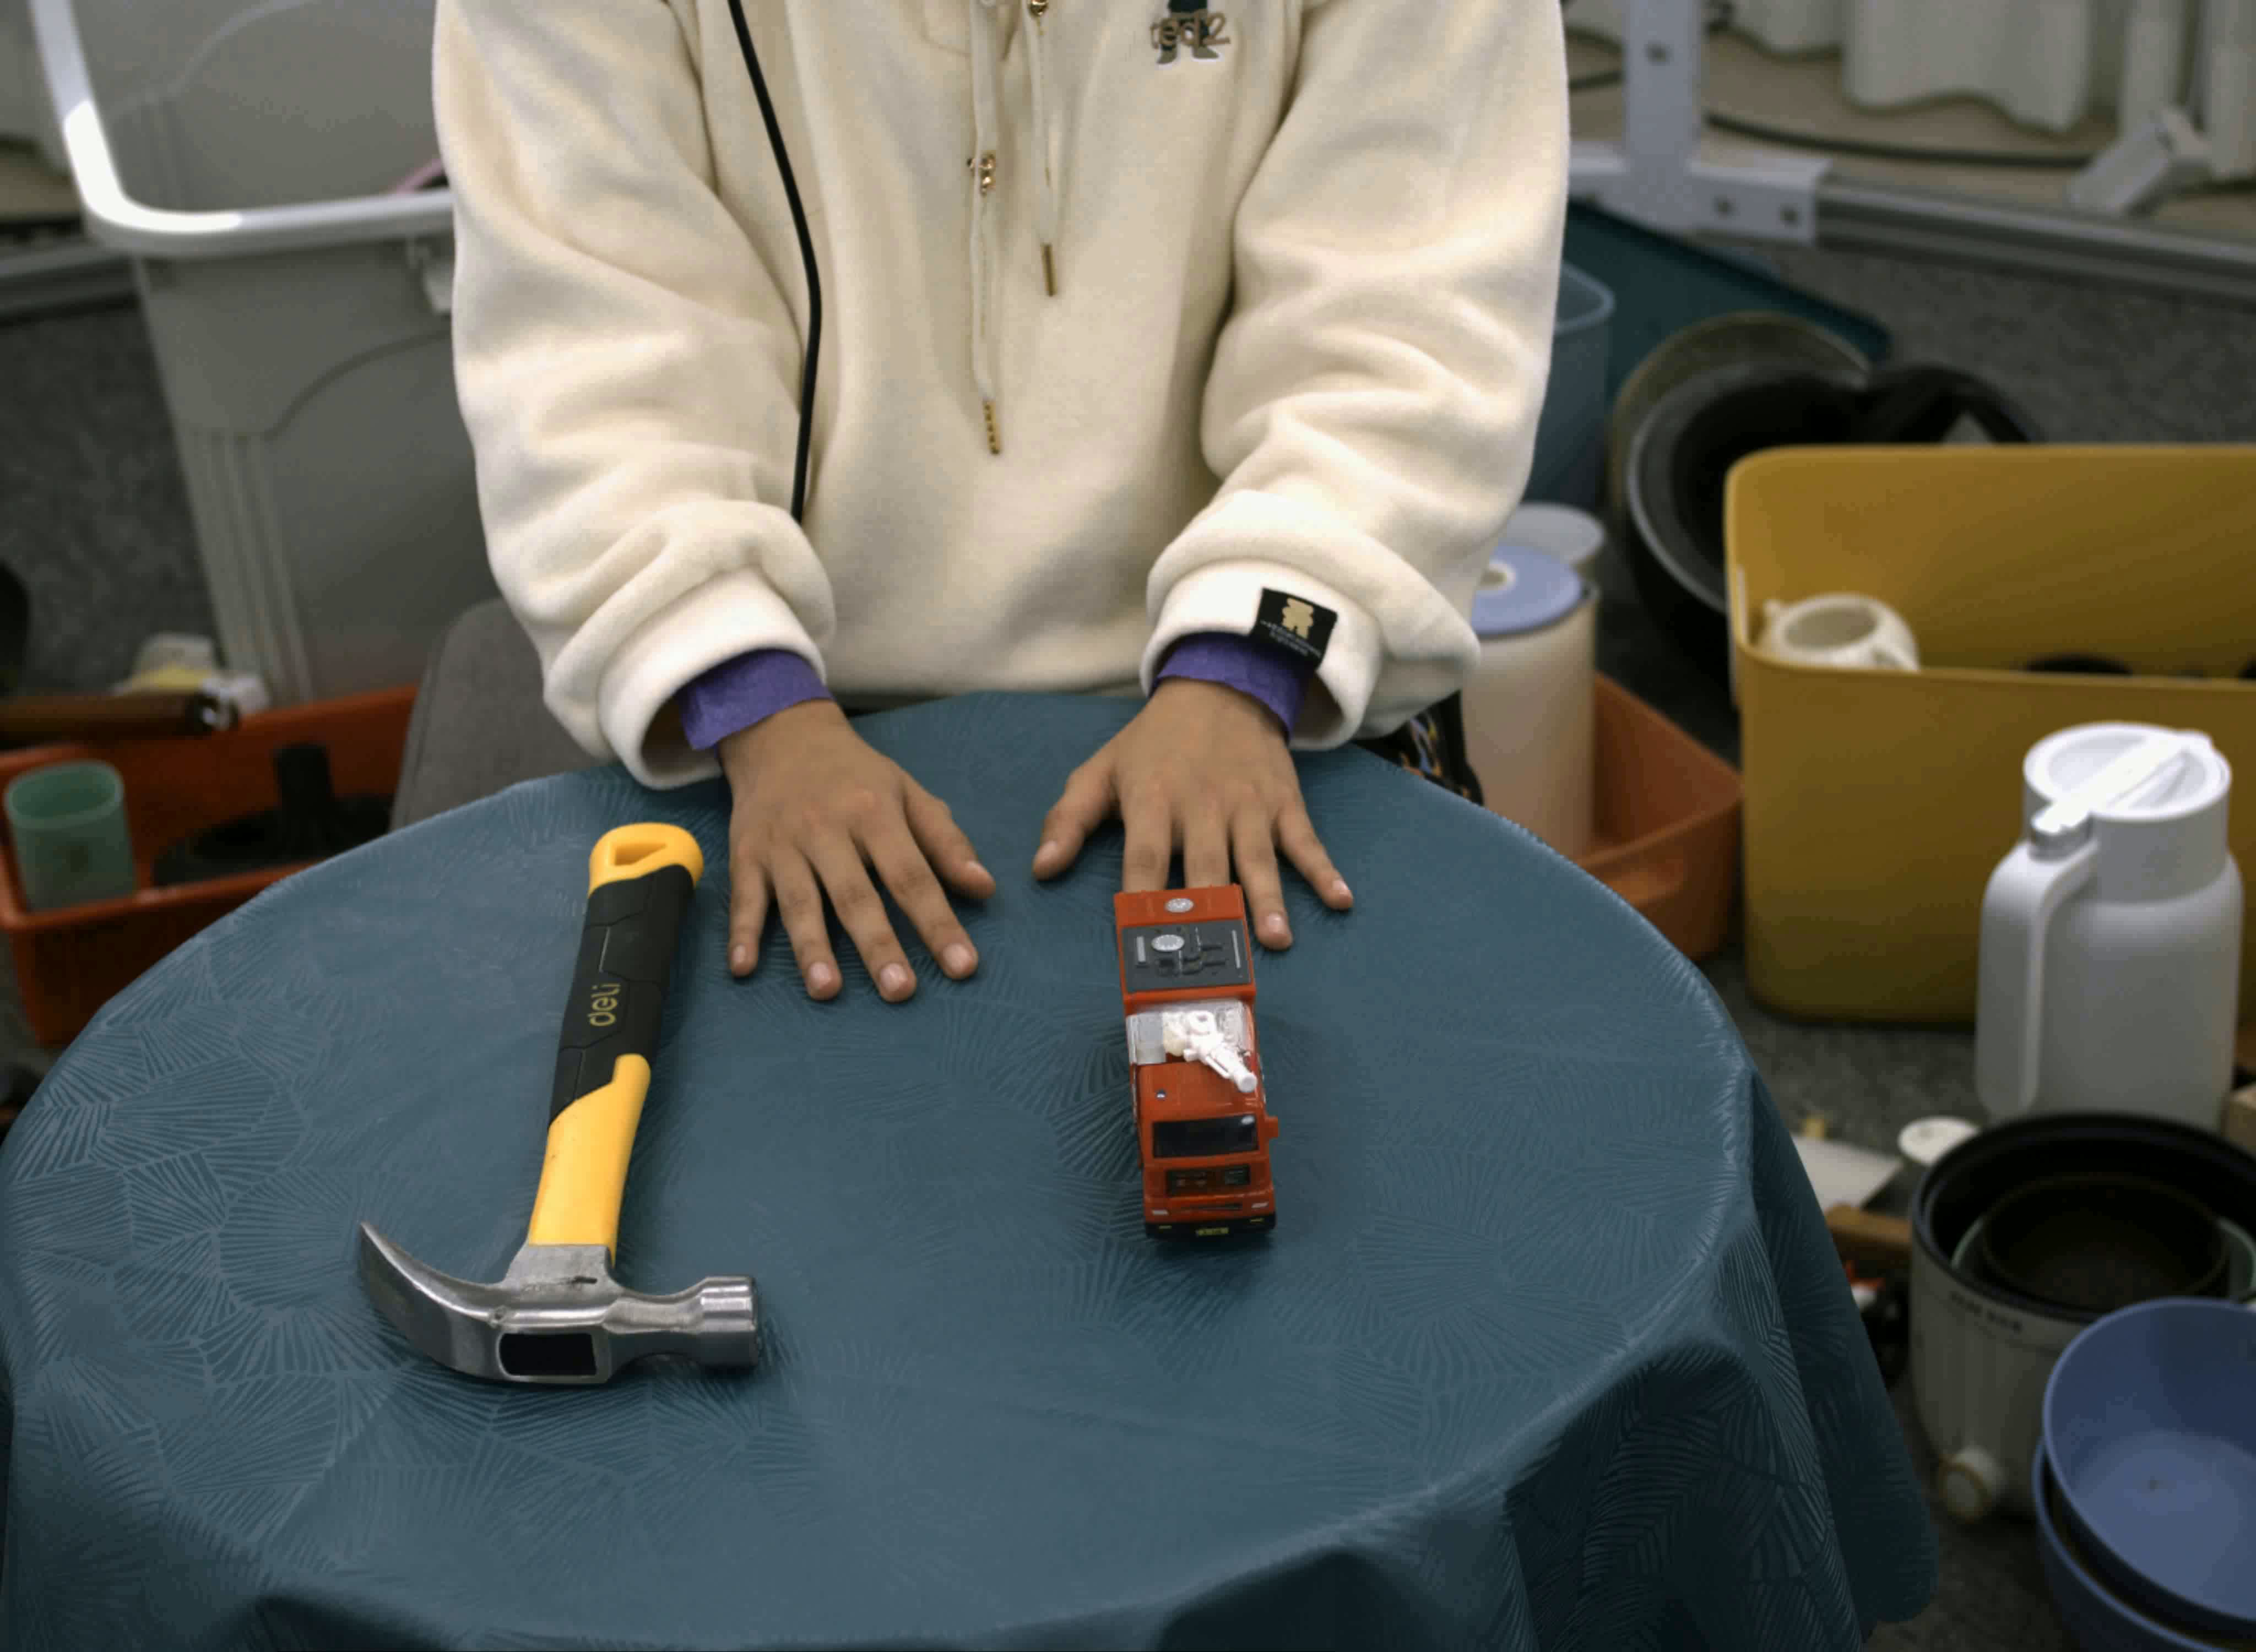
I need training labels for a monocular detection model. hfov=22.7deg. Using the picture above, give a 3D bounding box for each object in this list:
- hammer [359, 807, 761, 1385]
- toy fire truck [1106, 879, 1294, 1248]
[{"bbox_3d":[-0.179,0.084,1.910,0.131,0.032,0.344,-3,28,3],"label":"hammer"},{"bbox_3d":[0.023,0.078,1.880,0.054,0.069,0.170,-4,26,-2],"label":"toy fire truck"}]
